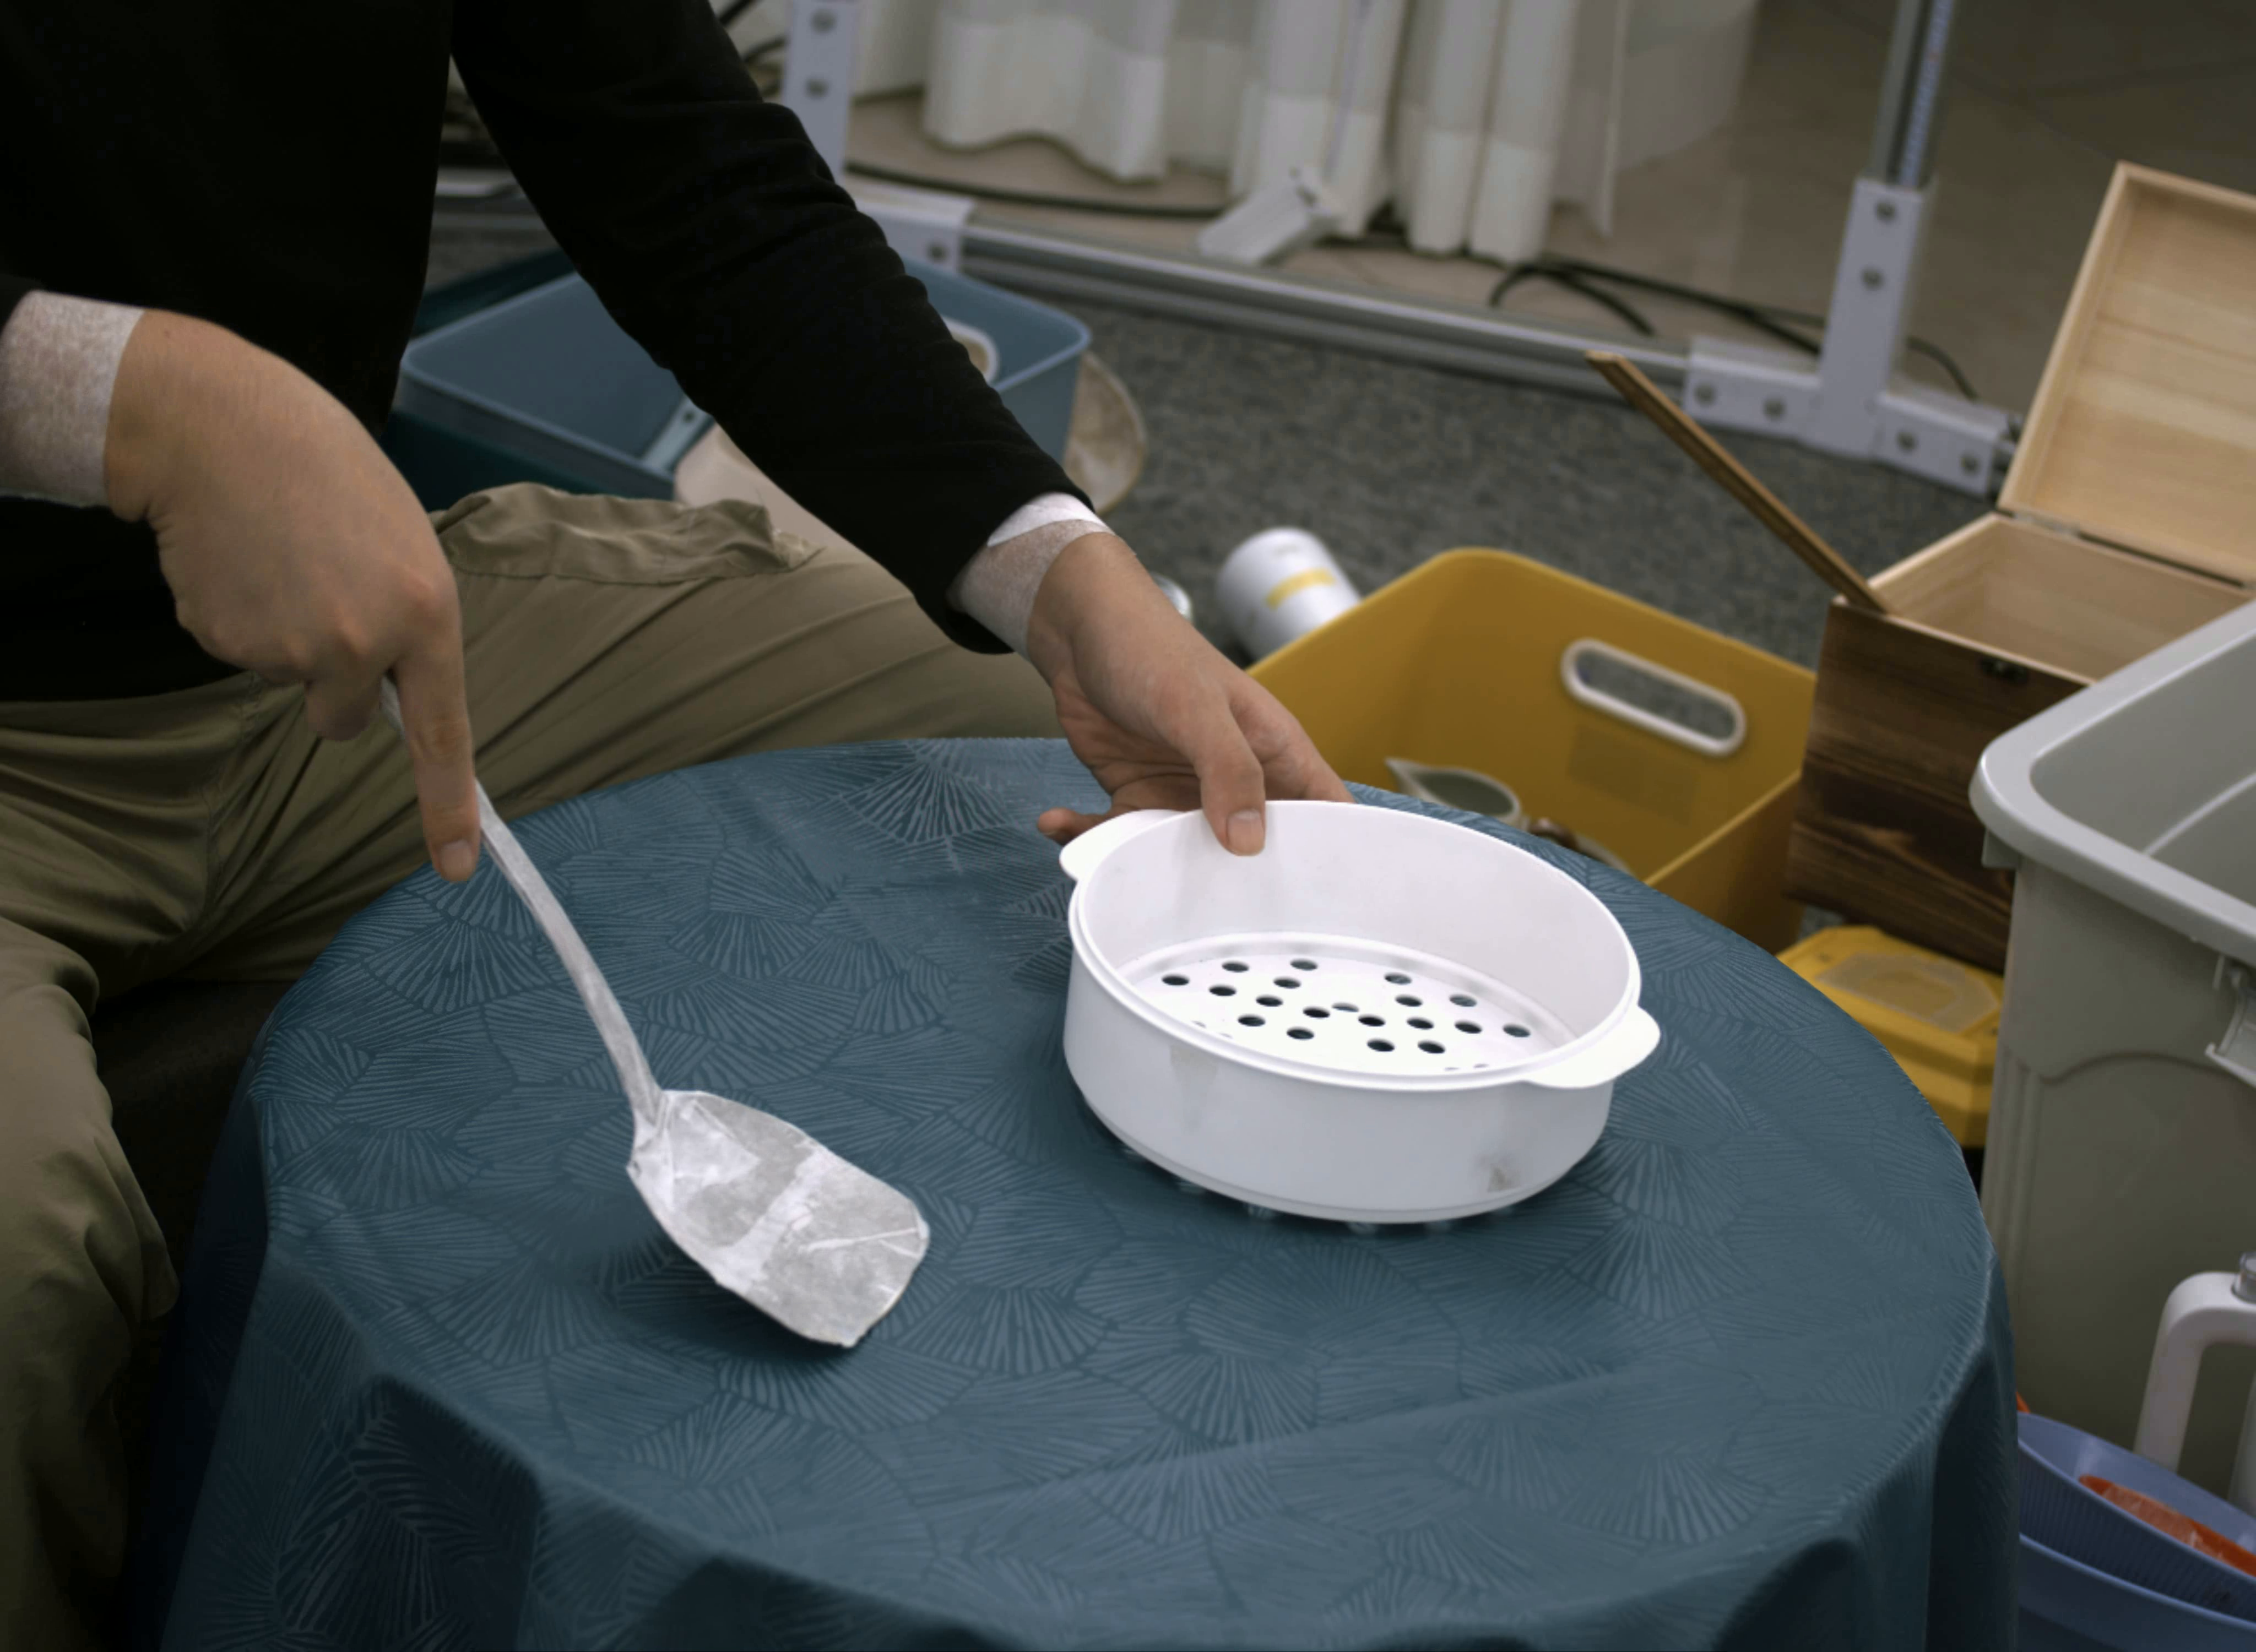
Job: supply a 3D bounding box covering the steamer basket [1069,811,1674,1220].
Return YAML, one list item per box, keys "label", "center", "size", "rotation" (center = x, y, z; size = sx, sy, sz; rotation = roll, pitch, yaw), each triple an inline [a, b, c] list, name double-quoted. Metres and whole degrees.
- label: "steamer basket"
  center: [0.080, 0.067, 1.855]
  size: [0.232, 0.069, 0.201]
  rotation: [23, 30, 31]

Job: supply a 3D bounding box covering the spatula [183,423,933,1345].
- label: "spatula"
  center: [-0.190, 0.015, 1.712]
  size: [0.045, 0.364, 0.099]
  rotation: [-30, 7, 31]
